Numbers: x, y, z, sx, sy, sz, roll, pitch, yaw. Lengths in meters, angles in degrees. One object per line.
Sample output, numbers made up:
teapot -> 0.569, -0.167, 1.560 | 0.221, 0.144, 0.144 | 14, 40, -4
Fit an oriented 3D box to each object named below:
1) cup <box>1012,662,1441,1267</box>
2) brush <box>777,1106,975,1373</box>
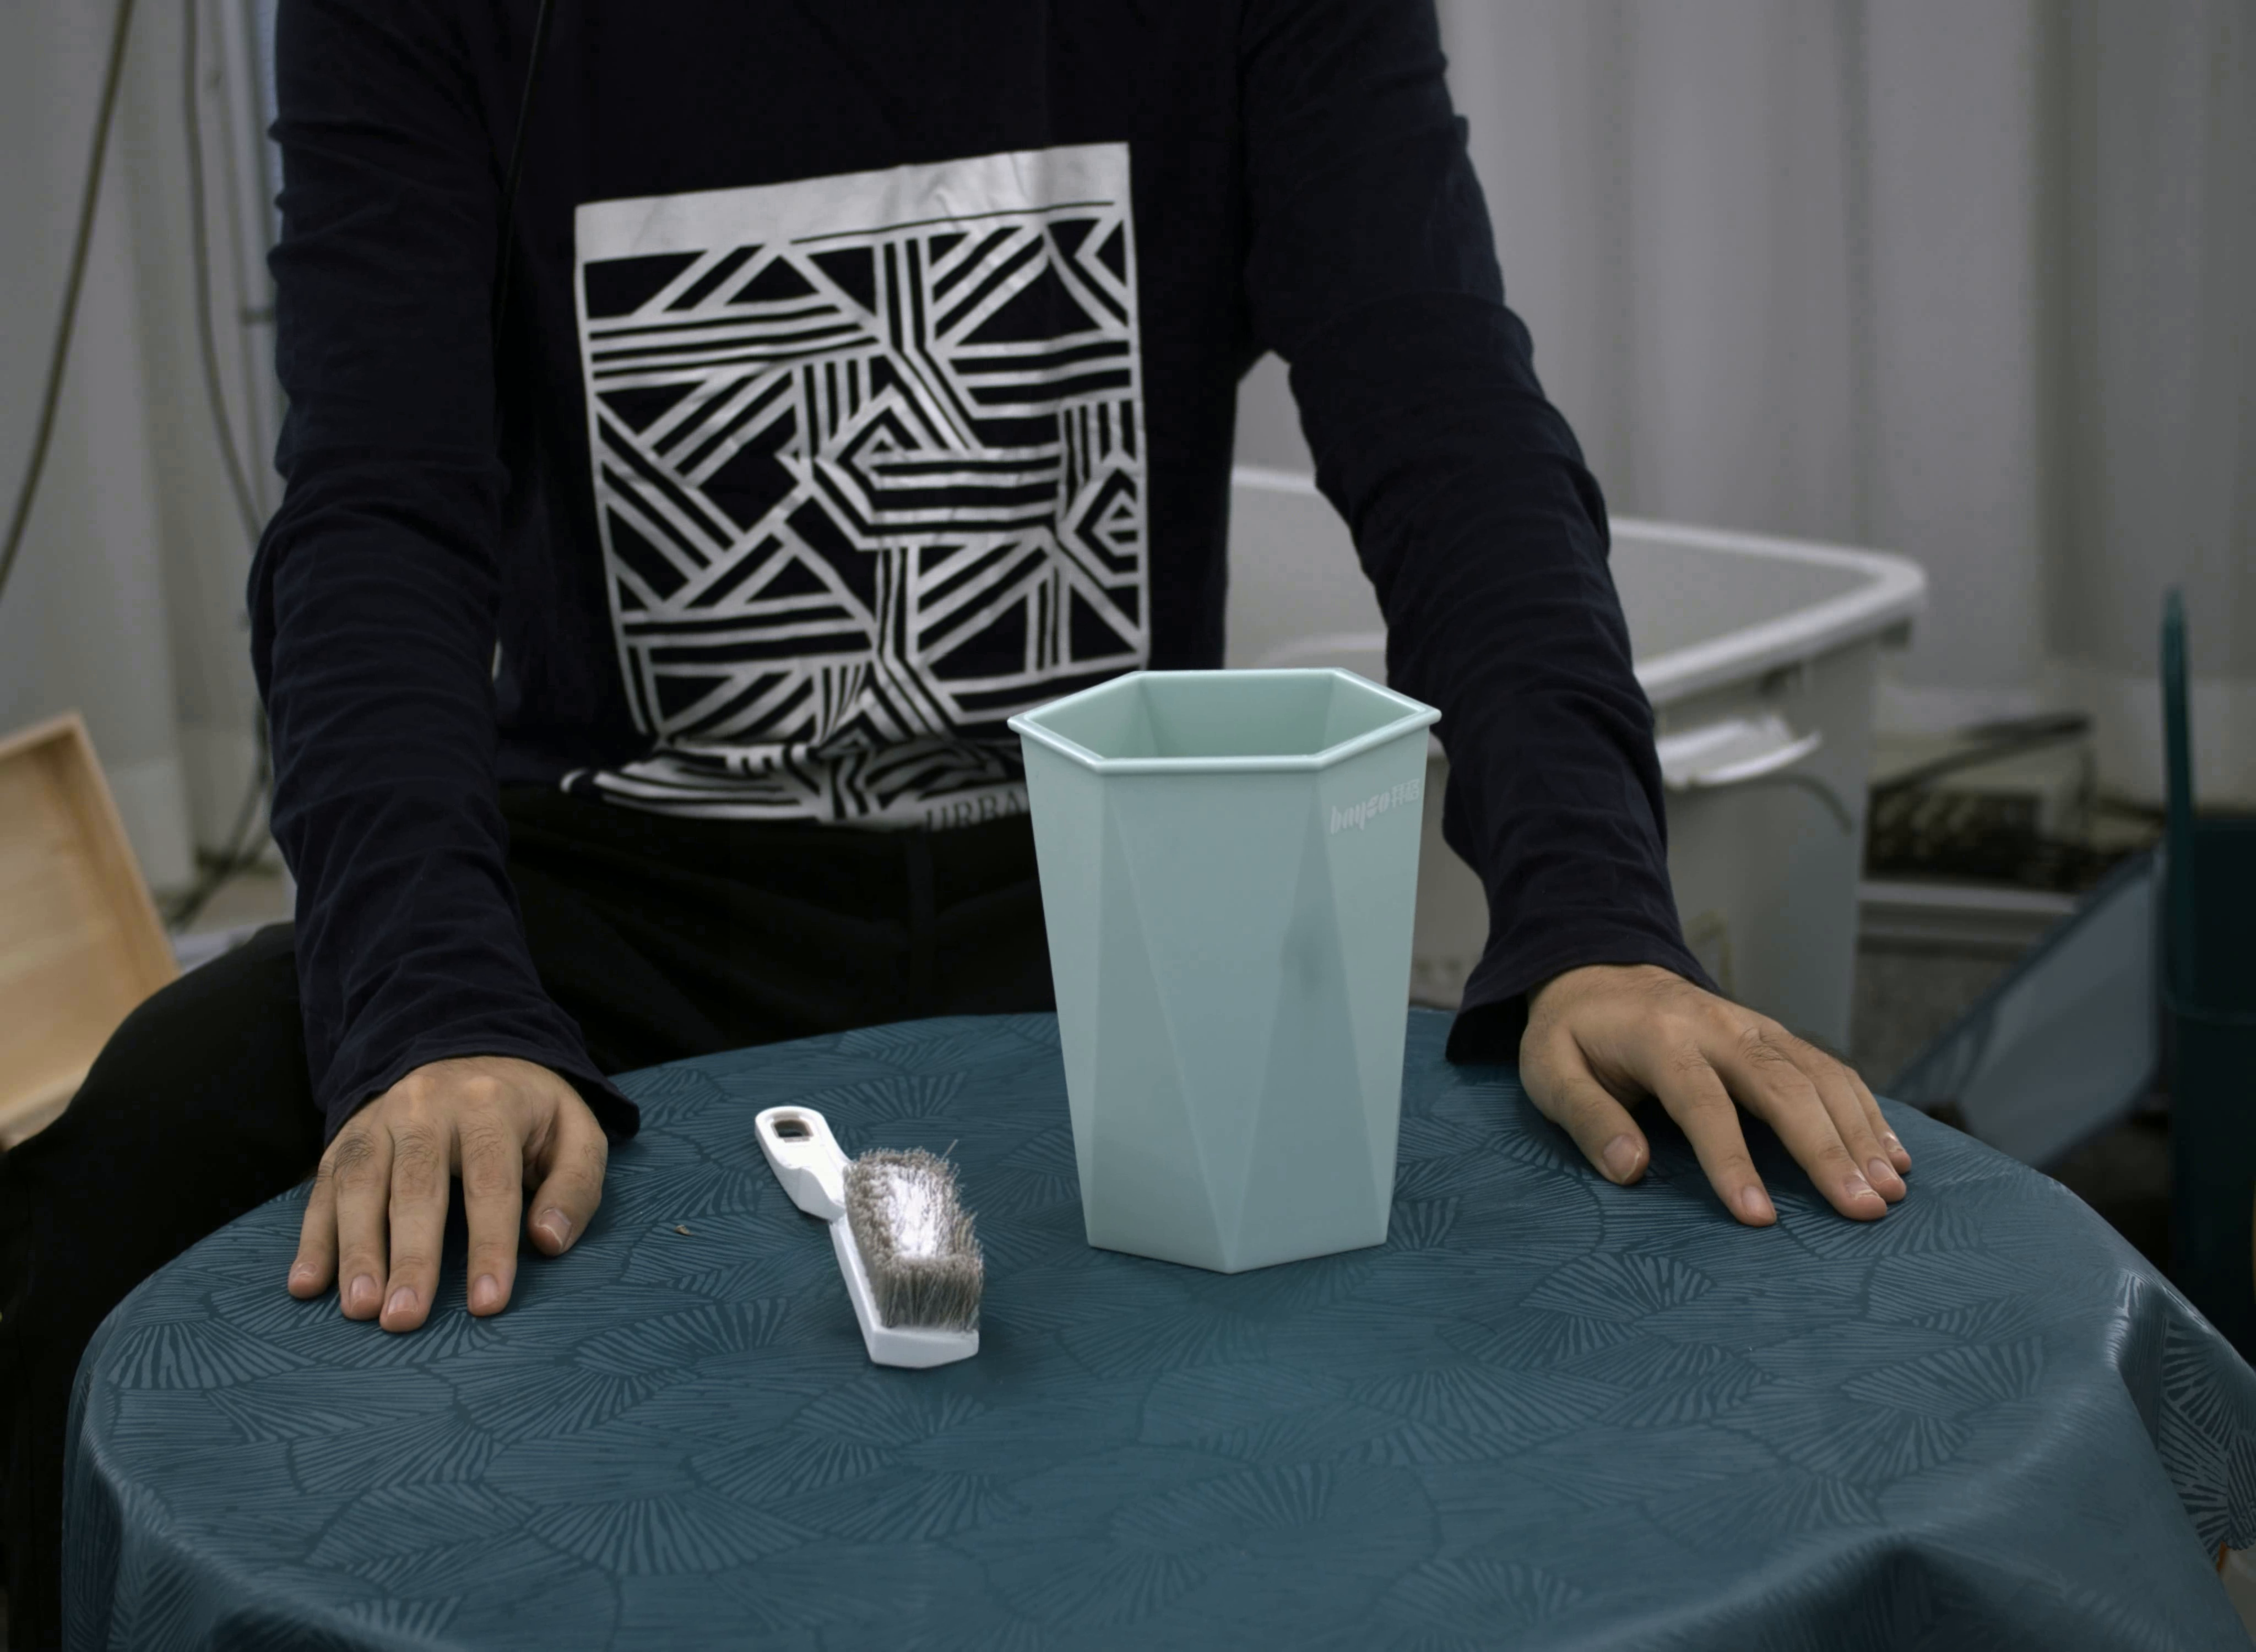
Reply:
cup -> 0.034, 0.041, 1.667 | 0.115, 0.162, 0.131 | 6, 16, 34
brush -> -0.082, 0.106, 1.670 | 0.034, 0.050, 0.245 | -6, 15, -10
